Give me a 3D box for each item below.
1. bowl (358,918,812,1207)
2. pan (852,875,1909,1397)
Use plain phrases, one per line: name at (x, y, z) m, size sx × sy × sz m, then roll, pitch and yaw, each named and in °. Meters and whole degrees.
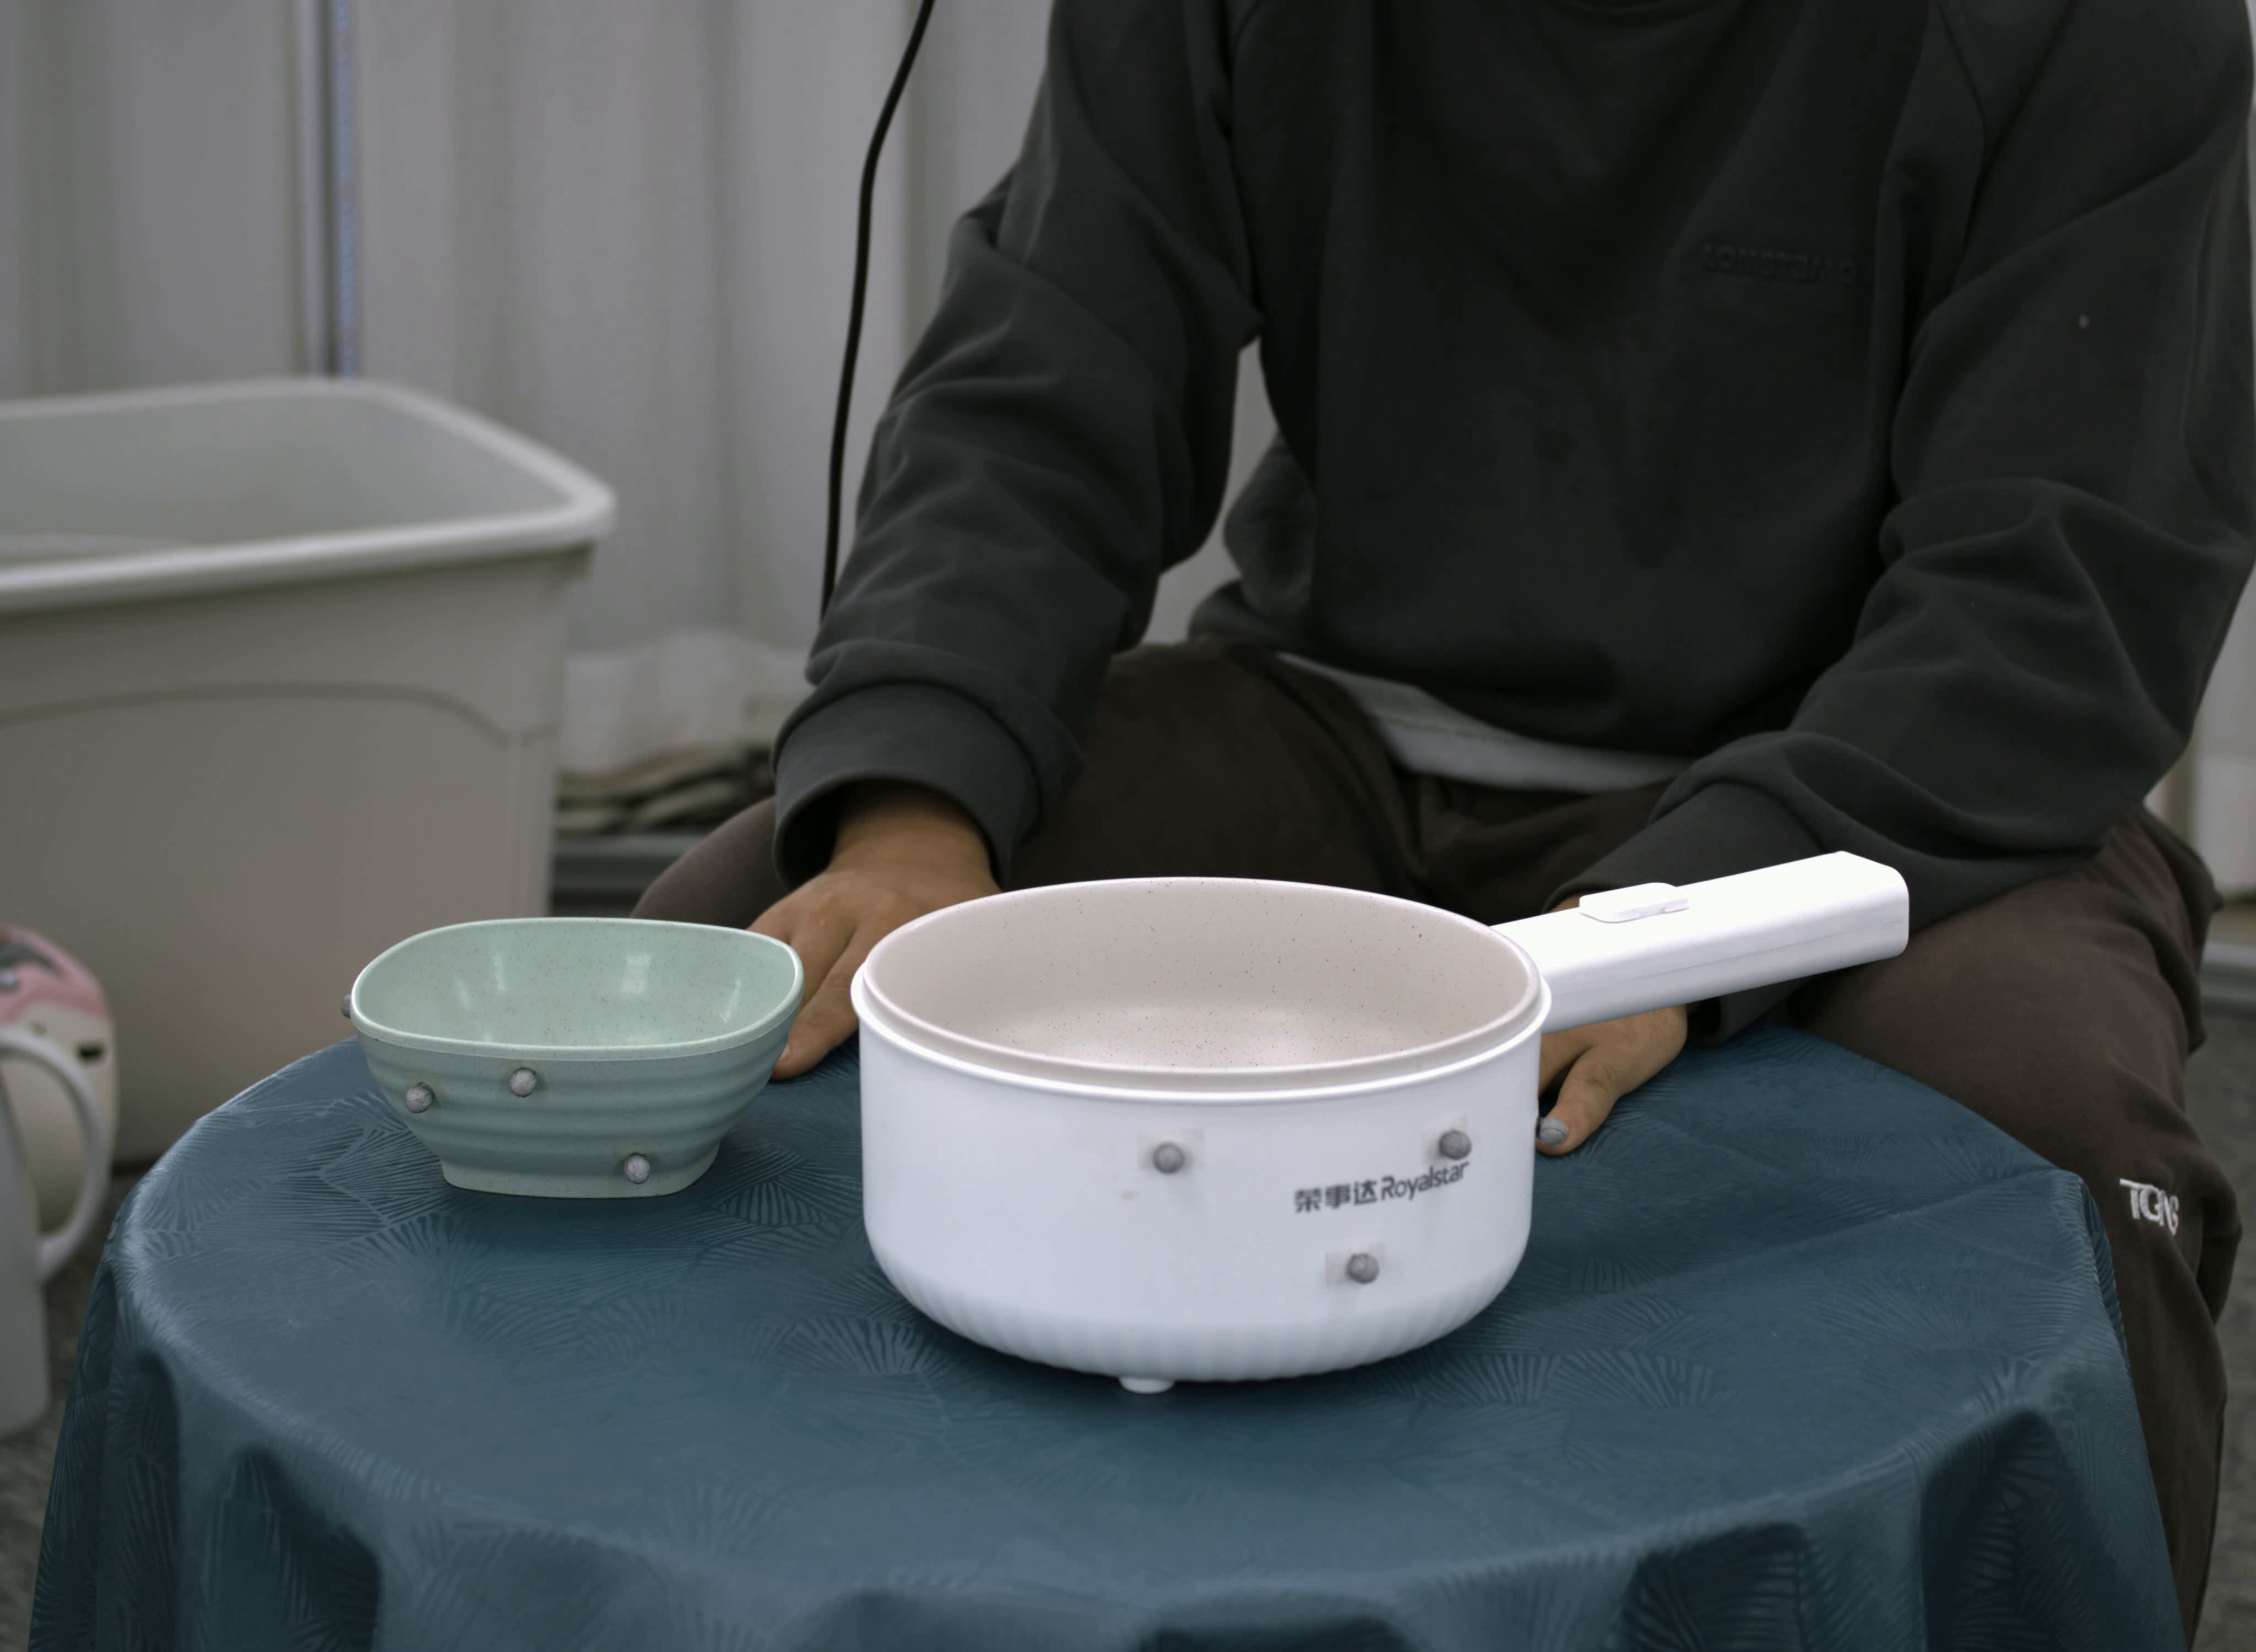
bowl at (-0.168, 0.077, 1.644) m, size 0.151 × 0.059 × 0.150 m, roll 0°, pitch 17°, yaw 0°
pan at (0.084, 0.083, 1.565) m, size 0.356 × 0.103 × 0.198 m, roll -8°, pitch 16°, yaw -34°
